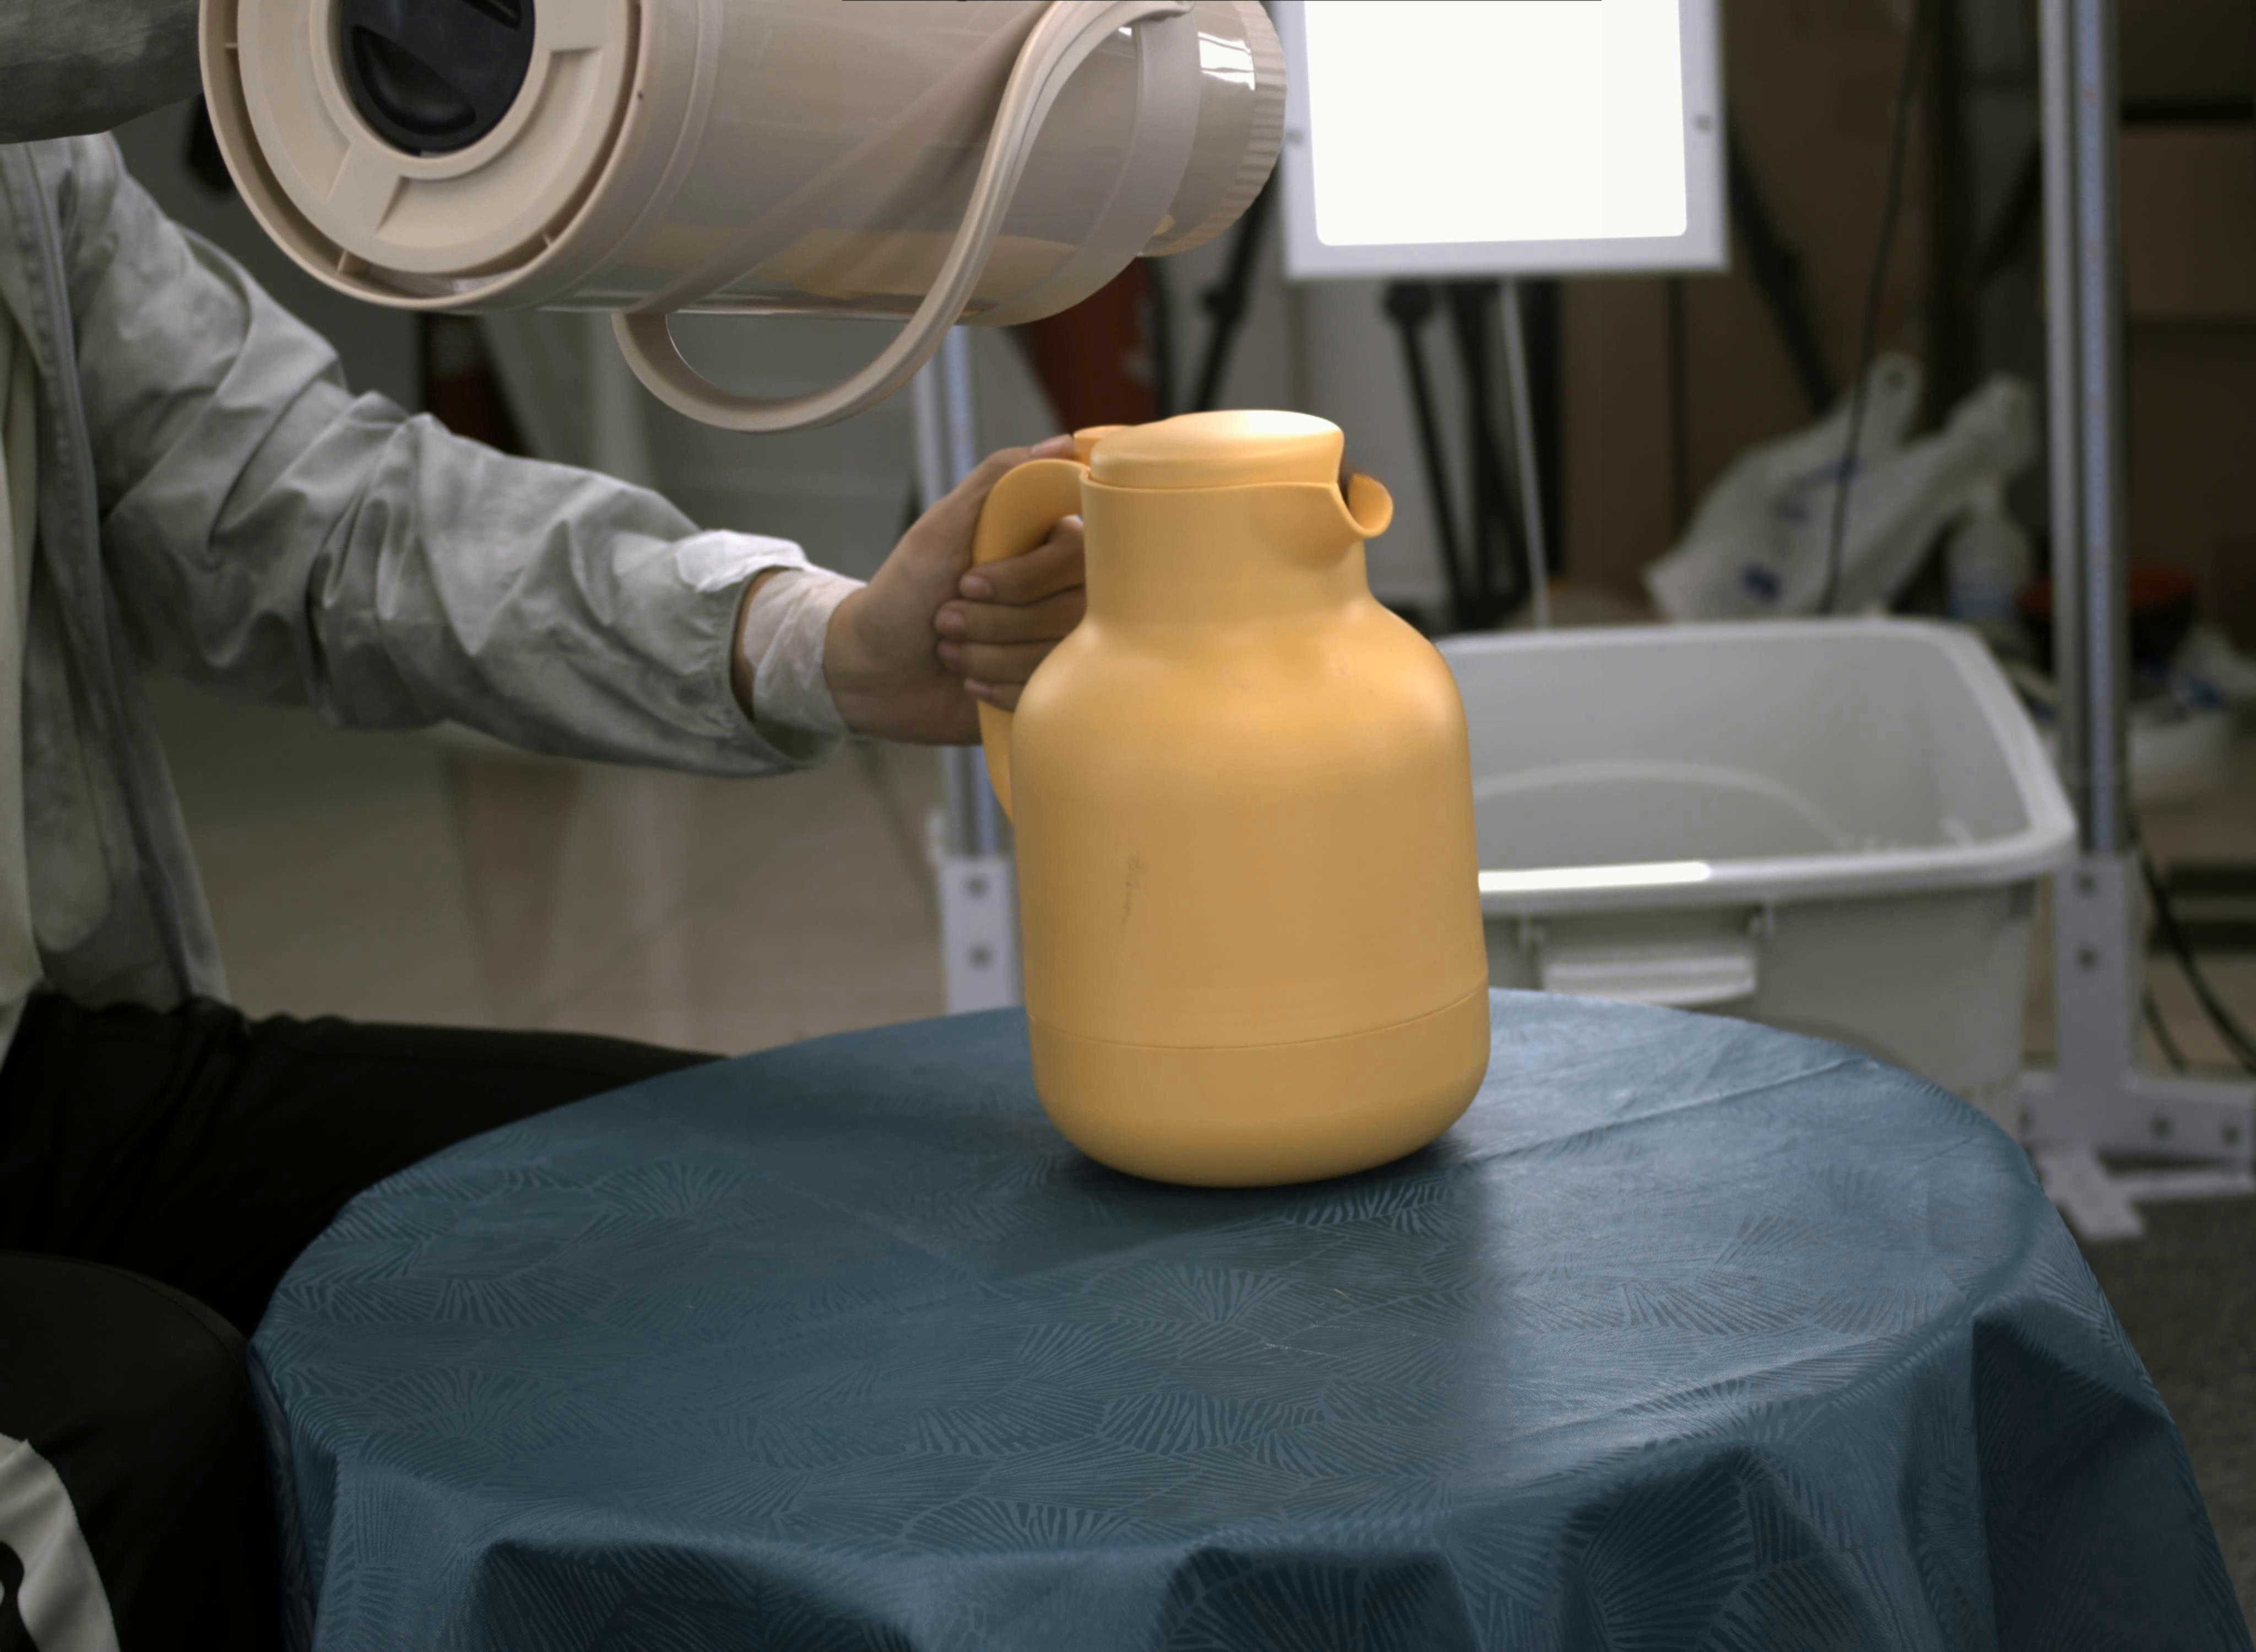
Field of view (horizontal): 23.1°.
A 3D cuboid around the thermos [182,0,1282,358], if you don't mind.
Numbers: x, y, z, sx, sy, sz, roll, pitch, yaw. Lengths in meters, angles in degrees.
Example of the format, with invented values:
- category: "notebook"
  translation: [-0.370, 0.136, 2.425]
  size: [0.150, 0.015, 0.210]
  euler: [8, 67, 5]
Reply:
- category: "thermos"
  translation: [-0.104, -0.245, 1.692]
  size: [0.179, 0.207, 0.396]
  euler: [-23, -8, 34]

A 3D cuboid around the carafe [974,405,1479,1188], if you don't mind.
- category: "carafe"
  translation: [0.026, -0.017, 1.923]
  size: [0.159, 0.261, 0.207]
  euler: [-13, 17, -39]
